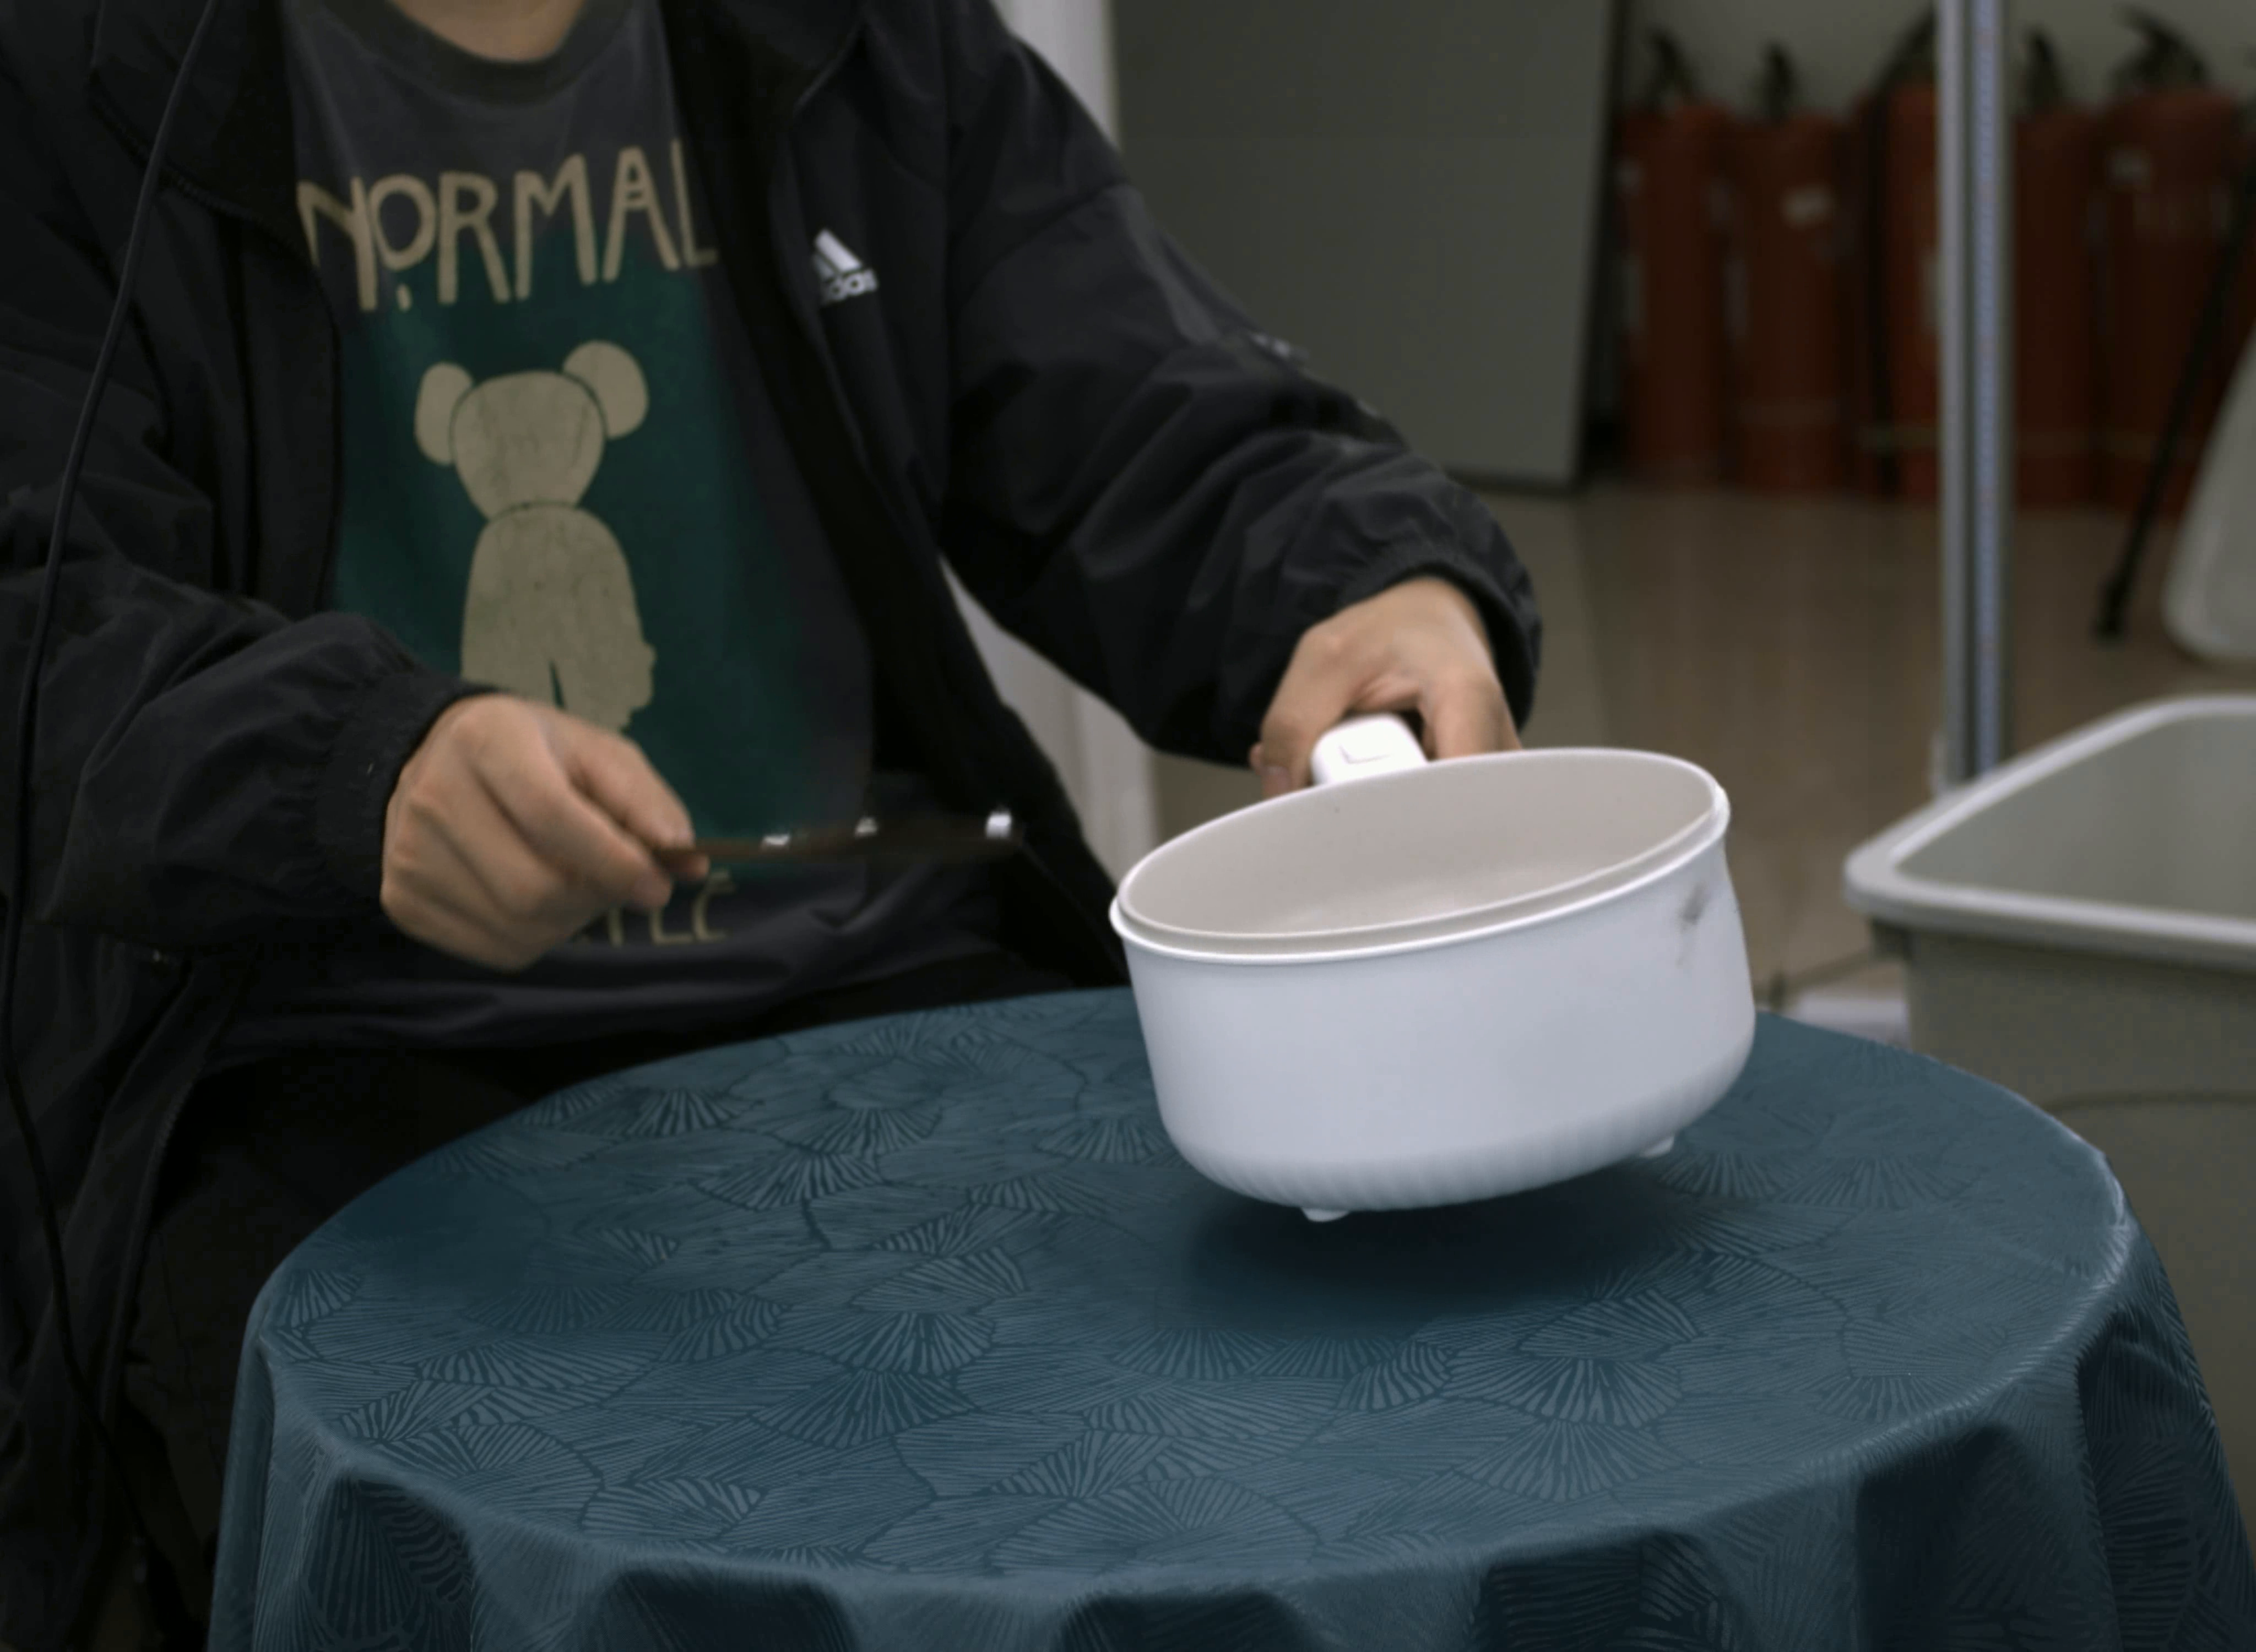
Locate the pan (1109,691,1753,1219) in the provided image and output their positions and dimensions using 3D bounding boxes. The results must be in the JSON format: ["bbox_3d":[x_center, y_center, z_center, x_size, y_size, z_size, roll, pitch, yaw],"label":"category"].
[{"bbox_3d":[0.096,0.035,1.785,0.199,0.103,0.355,-13,12,0],"label":"pan"}]

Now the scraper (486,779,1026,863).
[{"bbox_3d":[-0.126,0.001,1.704,0.213,0.011,0.074,-6,-8,43],"label":"scraper"}]
